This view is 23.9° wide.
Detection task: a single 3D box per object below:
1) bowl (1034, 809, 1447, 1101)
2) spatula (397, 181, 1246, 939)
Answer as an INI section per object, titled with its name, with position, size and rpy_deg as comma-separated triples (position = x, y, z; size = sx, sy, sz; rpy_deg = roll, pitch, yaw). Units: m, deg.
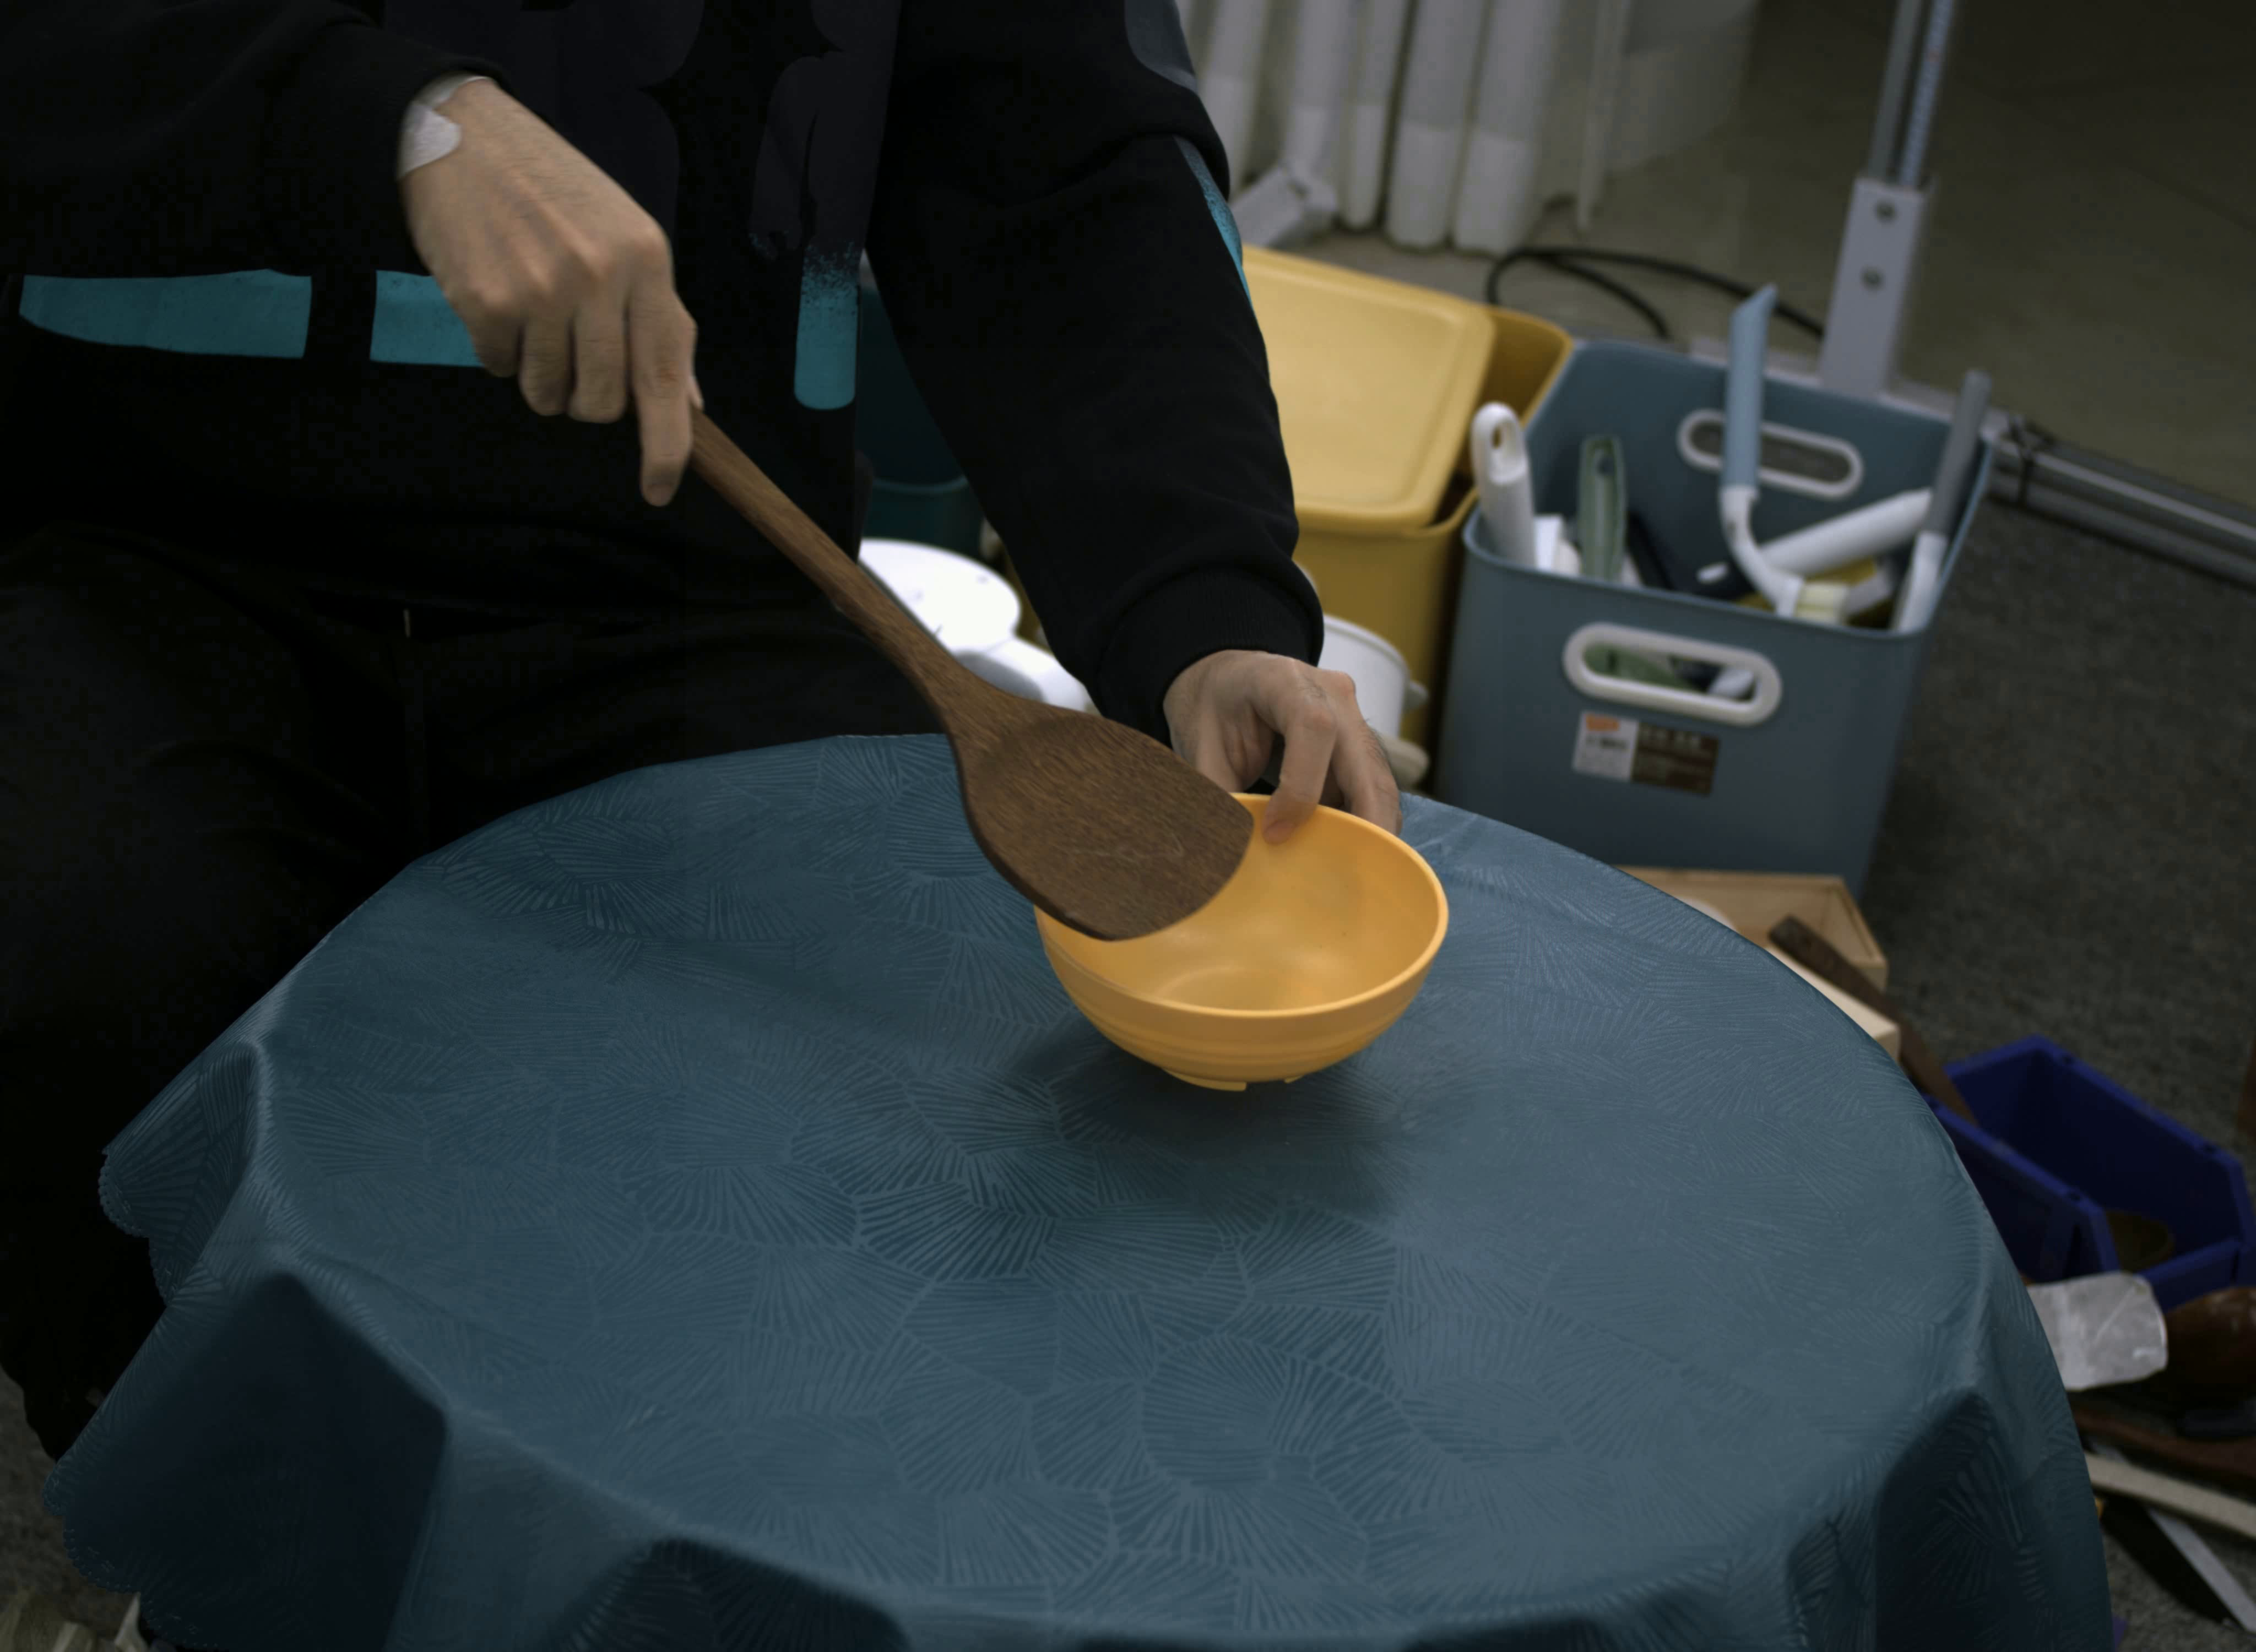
[bowl]
position = 0.037, 0.054, 1.864
size = 0.145, 0.060, 0.146
rpy_deg = 2, 29, -2
[spatula]
position = -0.116, -0.100, 1.841
size = 0.387, 0.016, 0.096
rpy_deg = 43, 47, 12
